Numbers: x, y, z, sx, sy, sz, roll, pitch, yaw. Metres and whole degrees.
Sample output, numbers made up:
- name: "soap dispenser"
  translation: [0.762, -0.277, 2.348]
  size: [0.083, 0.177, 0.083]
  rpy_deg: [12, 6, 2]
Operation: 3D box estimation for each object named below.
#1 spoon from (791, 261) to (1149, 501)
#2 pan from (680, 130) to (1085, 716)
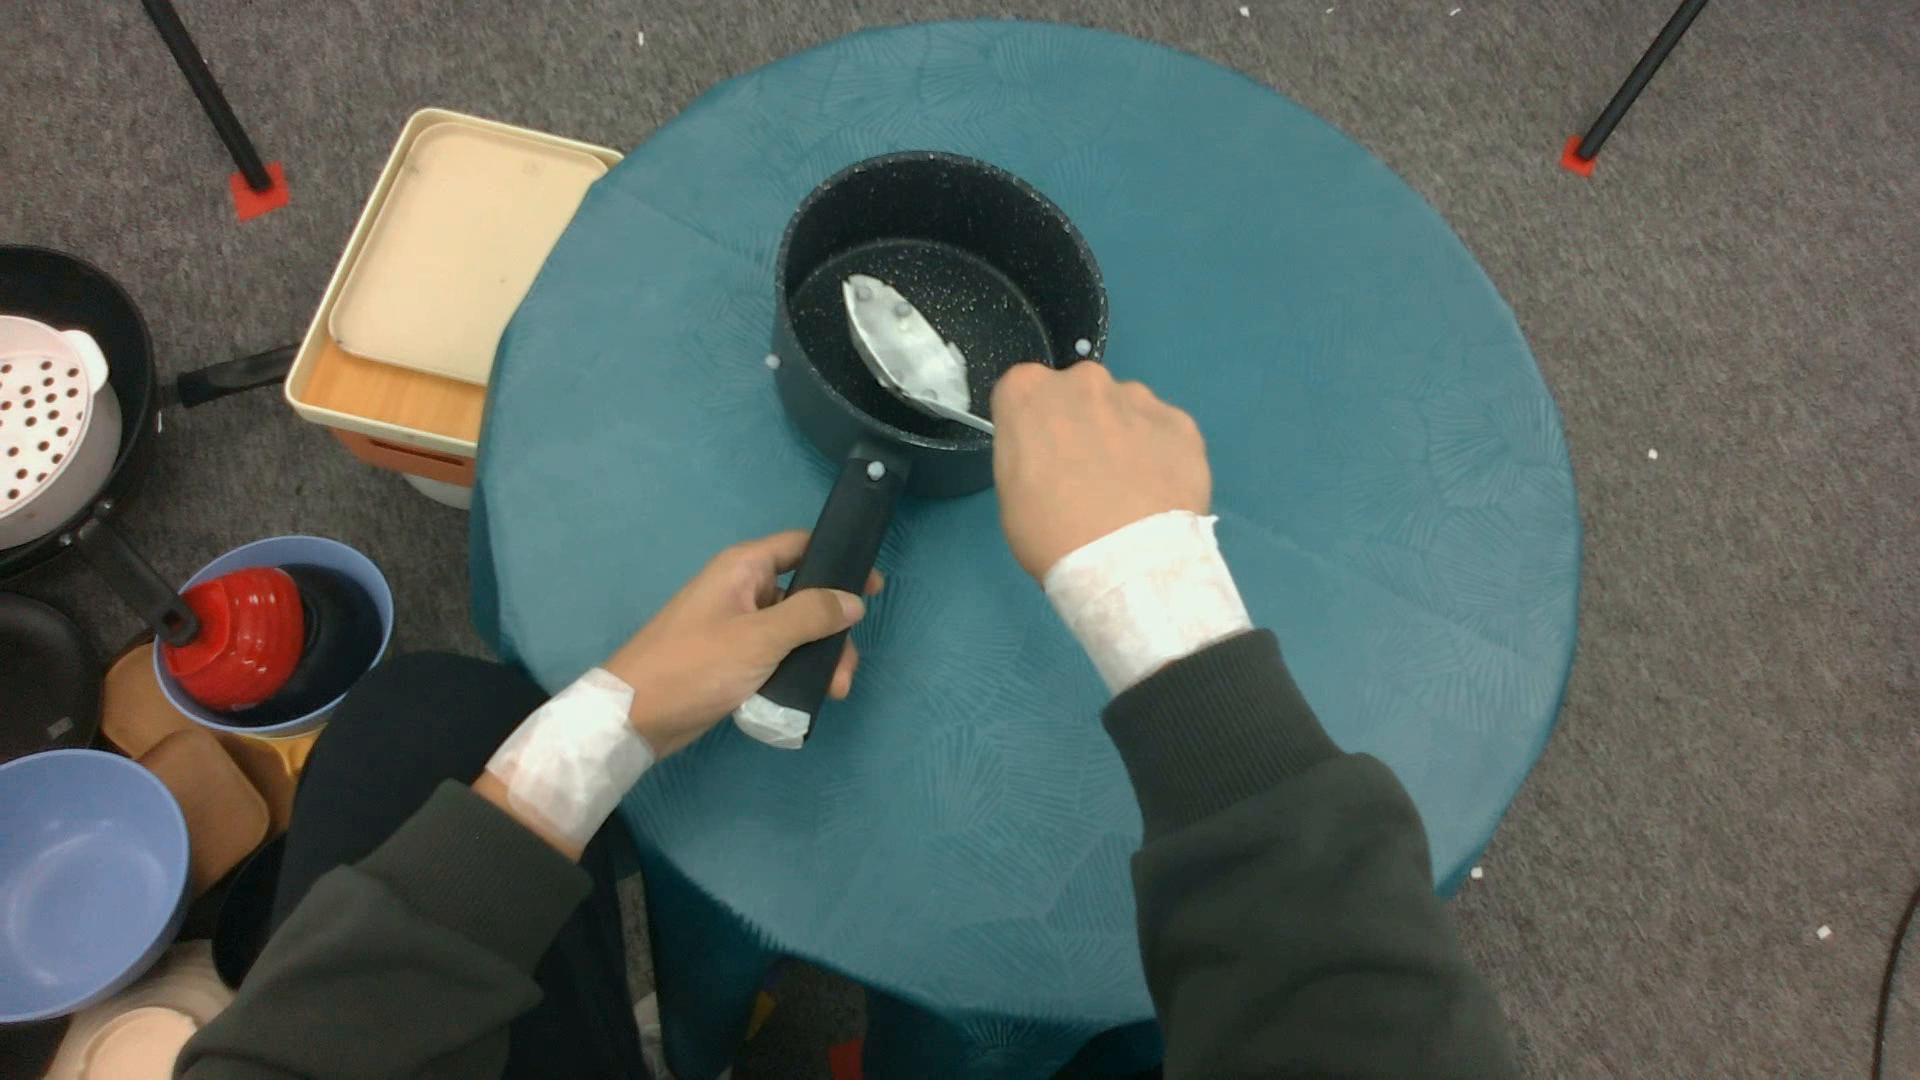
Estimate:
- name: "spoon"
  translation: [0.003, -0.081, 0.630]
  size: [0.101, 0.277, 0.059]
  rpy_deg: [22, 93, -37]
- name: "pan"
  translation: [-0.054, -0.054, 0.684]
  size: [0.172, 0.086, 0.330]
  rpy_deg: [23, 64, -3]
